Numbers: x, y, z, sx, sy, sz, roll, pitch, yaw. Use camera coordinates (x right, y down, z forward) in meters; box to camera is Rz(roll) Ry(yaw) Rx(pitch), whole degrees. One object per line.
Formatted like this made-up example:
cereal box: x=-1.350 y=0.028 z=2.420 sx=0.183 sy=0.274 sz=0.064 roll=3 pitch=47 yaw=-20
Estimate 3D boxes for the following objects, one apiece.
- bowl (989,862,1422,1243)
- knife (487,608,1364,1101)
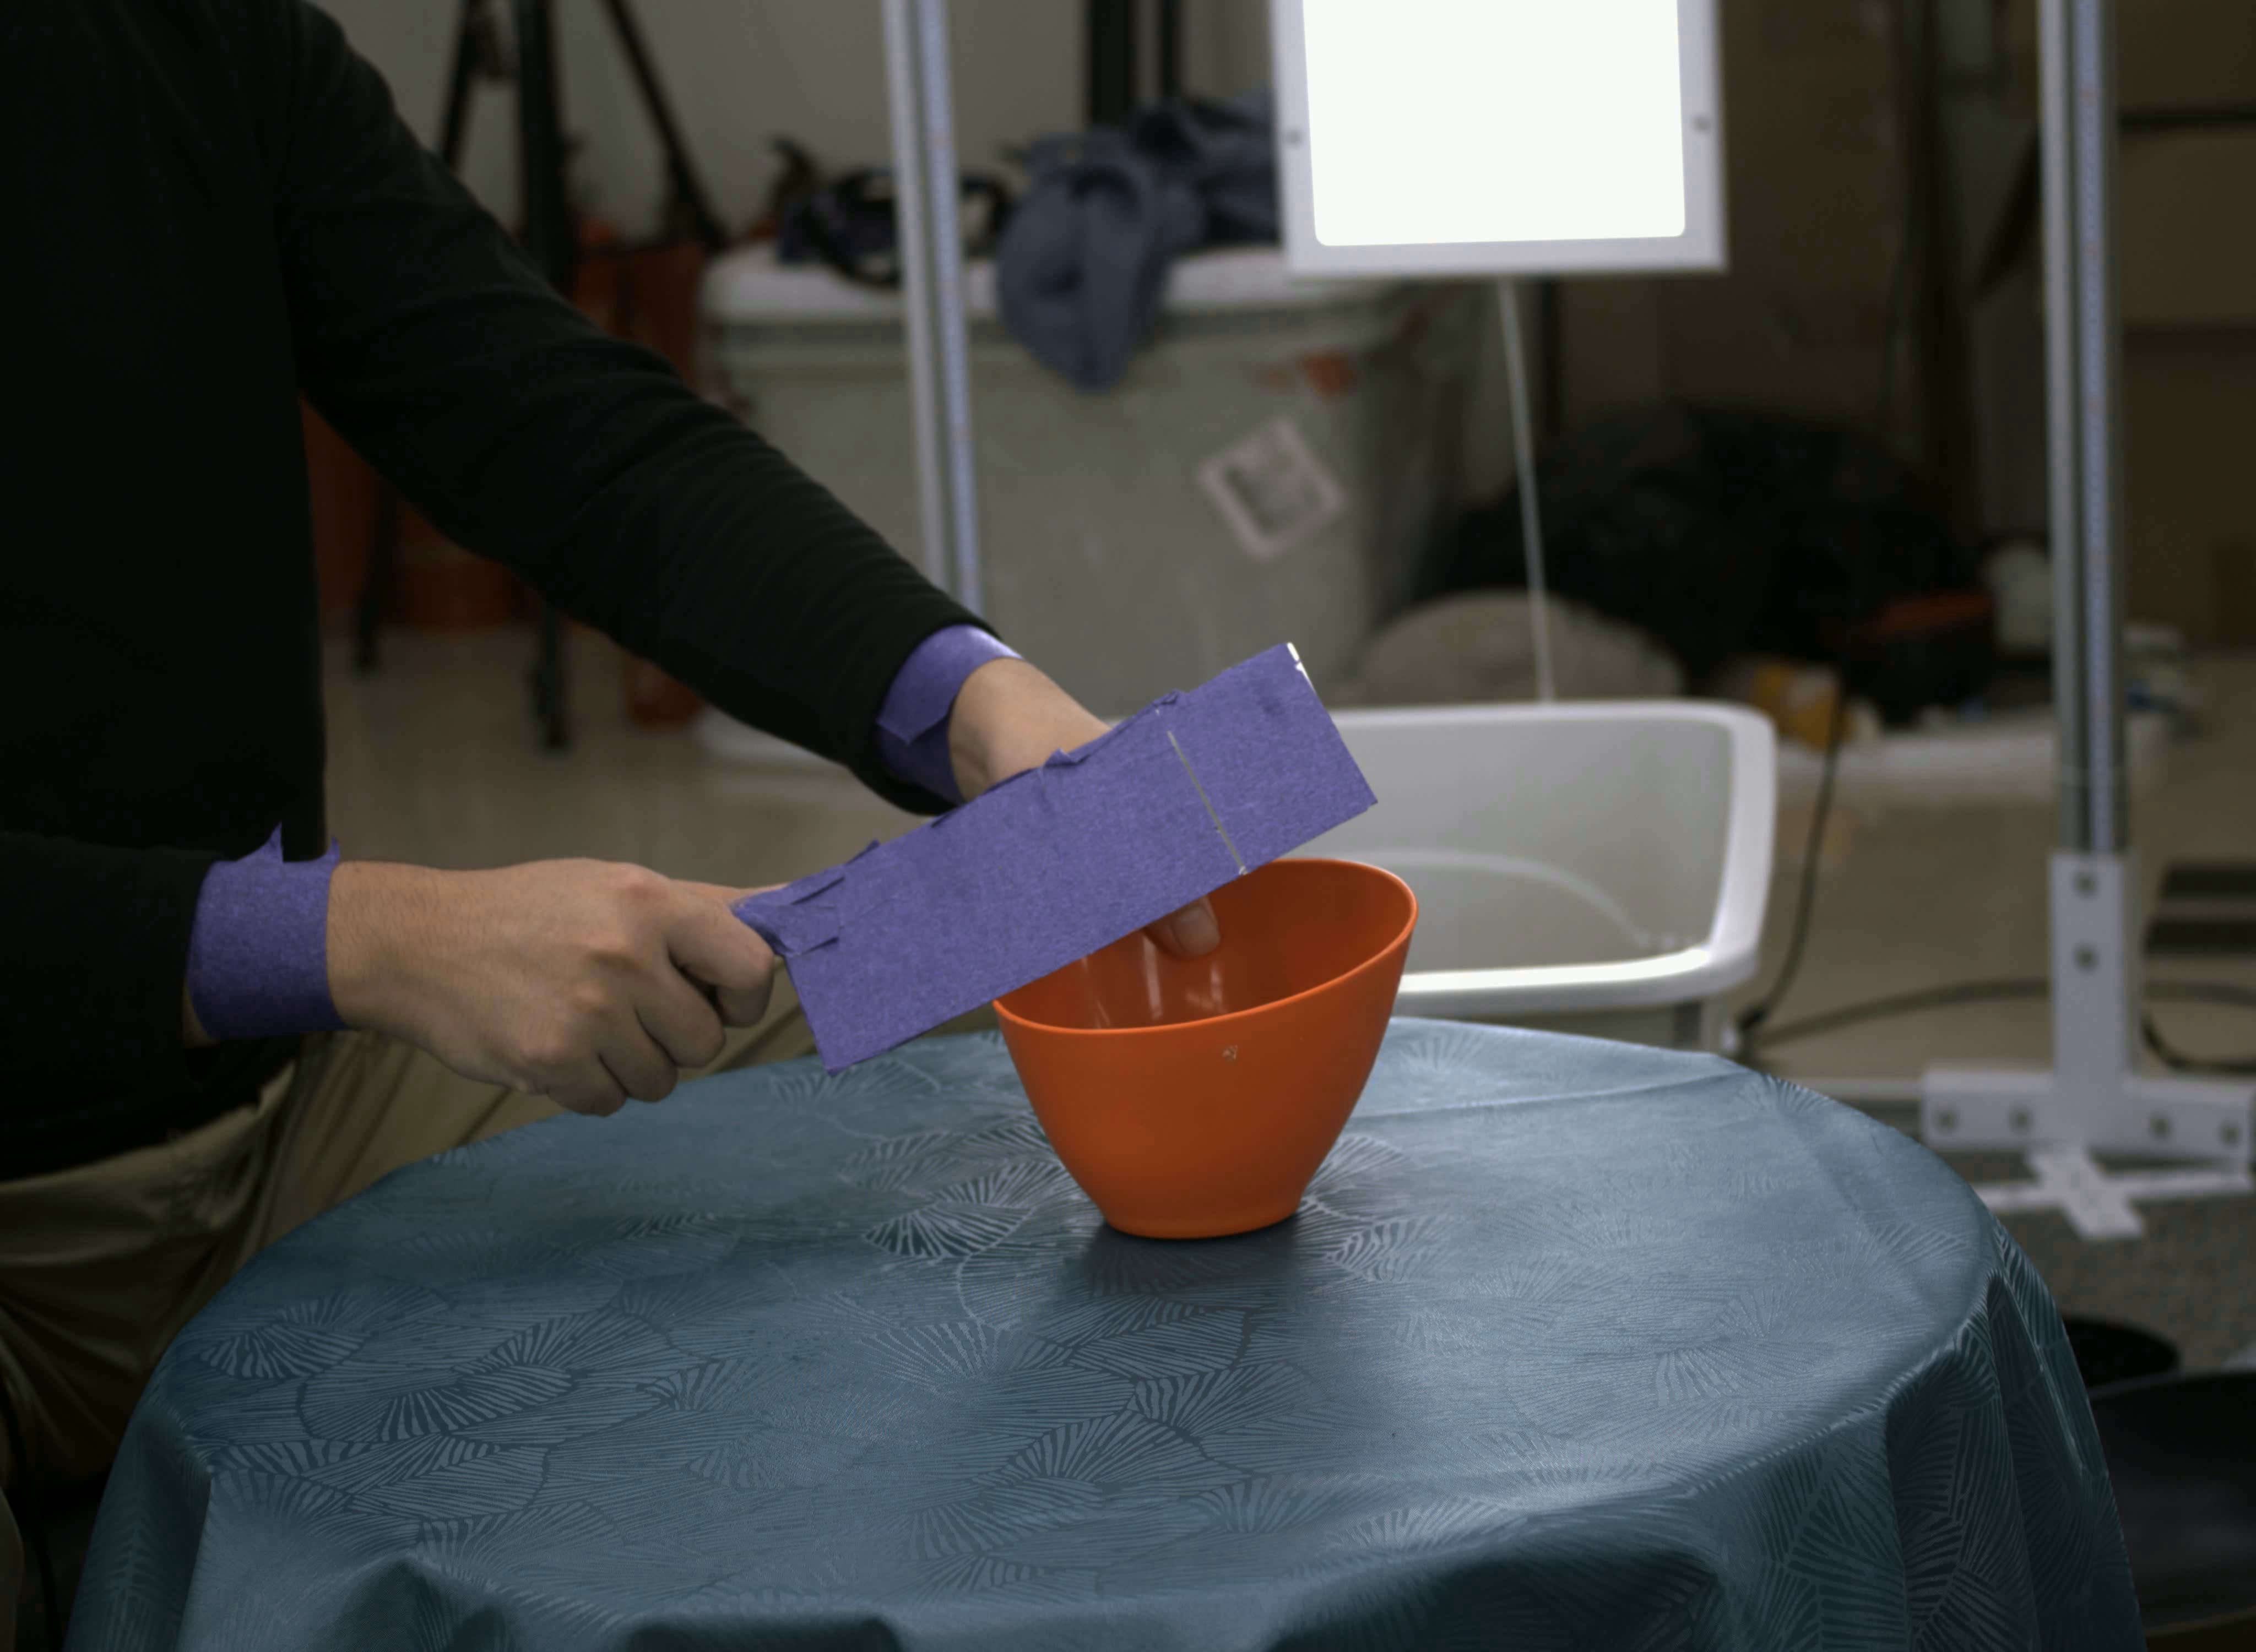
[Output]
bowl: x=0.029 y=0.080 z=1.862 sx=0.147 sy=0.105 sz=0.148 roll=-4 pitch=13 yaw=0
knife: x=-0.070 y=0.028 z=1.879 sx=0.316 sy=0.032 sz=0.104 roll=-29 pitch=44 yaw=5
